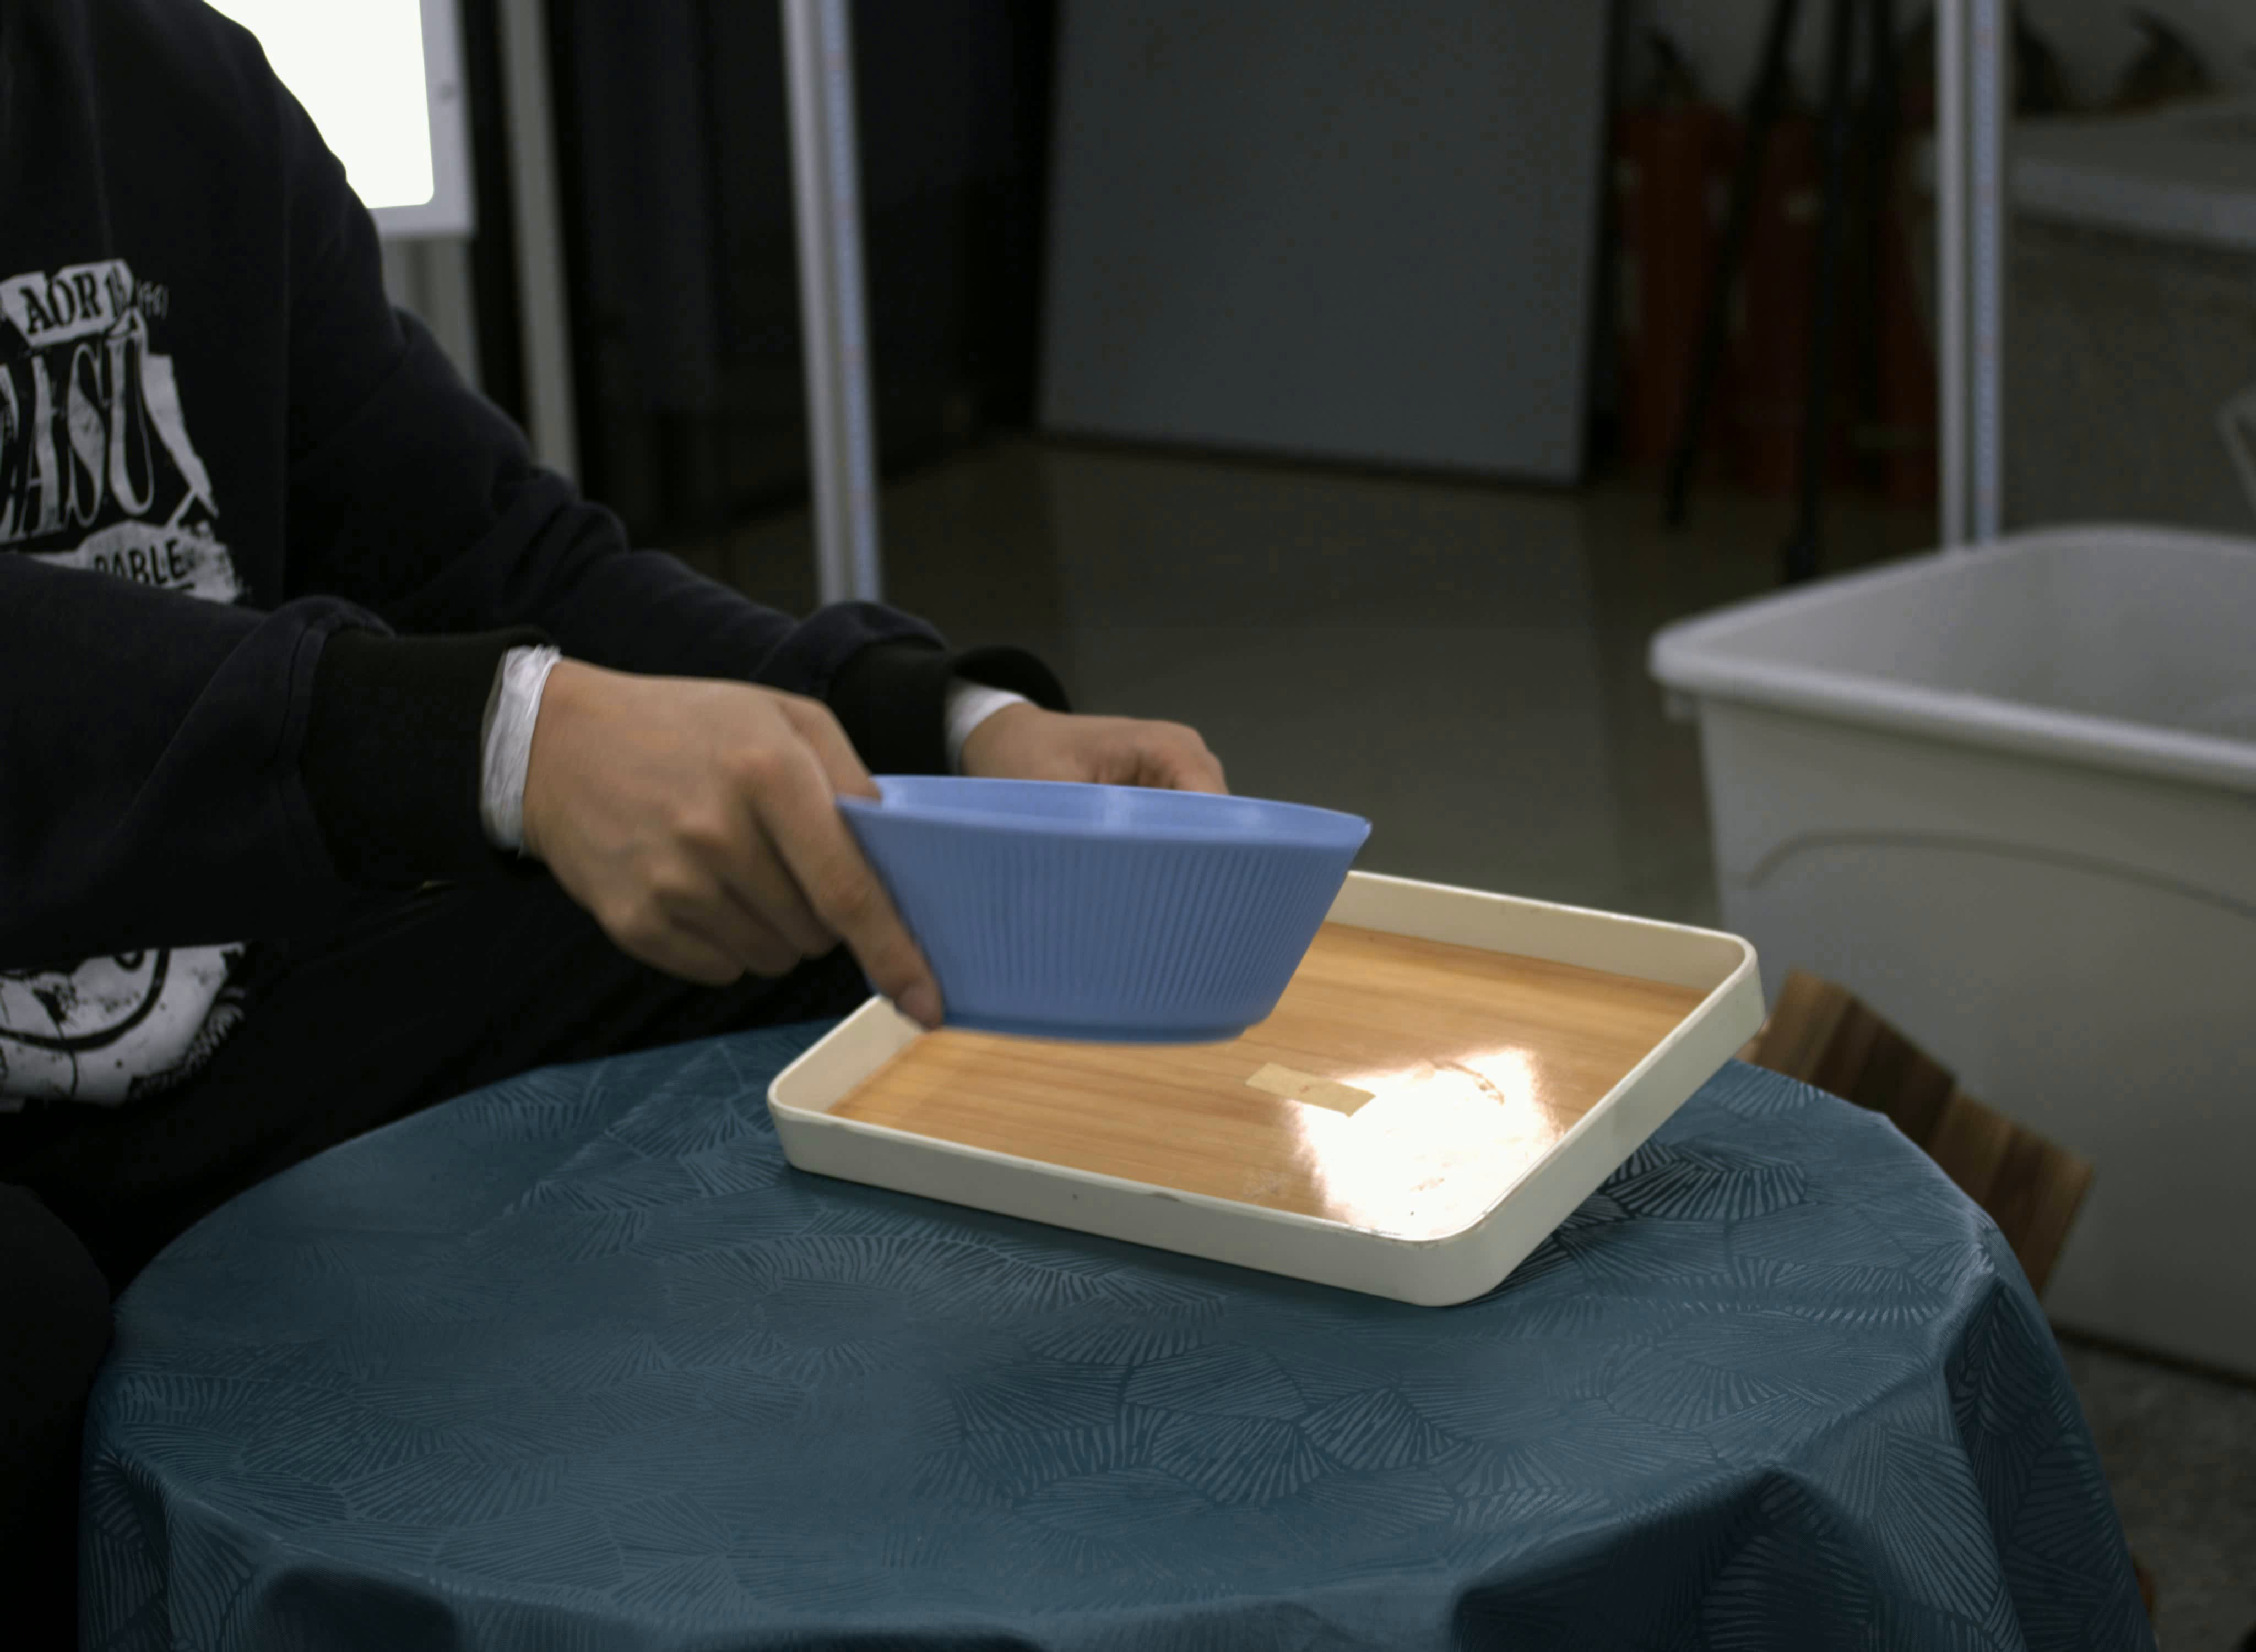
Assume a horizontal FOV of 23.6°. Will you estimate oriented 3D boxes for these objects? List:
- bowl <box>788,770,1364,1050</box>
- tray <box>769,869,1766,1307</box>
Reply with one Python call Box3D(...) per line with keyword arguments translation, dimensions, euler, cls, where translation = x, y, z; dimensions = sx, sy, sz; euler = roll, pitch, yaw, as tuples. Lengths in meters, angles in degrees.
Box3D(translation=(-0.018, 0.025, 1.625), dimensions=(0.173, 0.071, 0.176), euler=(5, 6, -1), cls="bowl")
Box3D(translation=(0.044, 0.076, 1.780), dimensions=(0.303, 0.027, 0.189), euler=(9, 36, 40), cls="tray")
